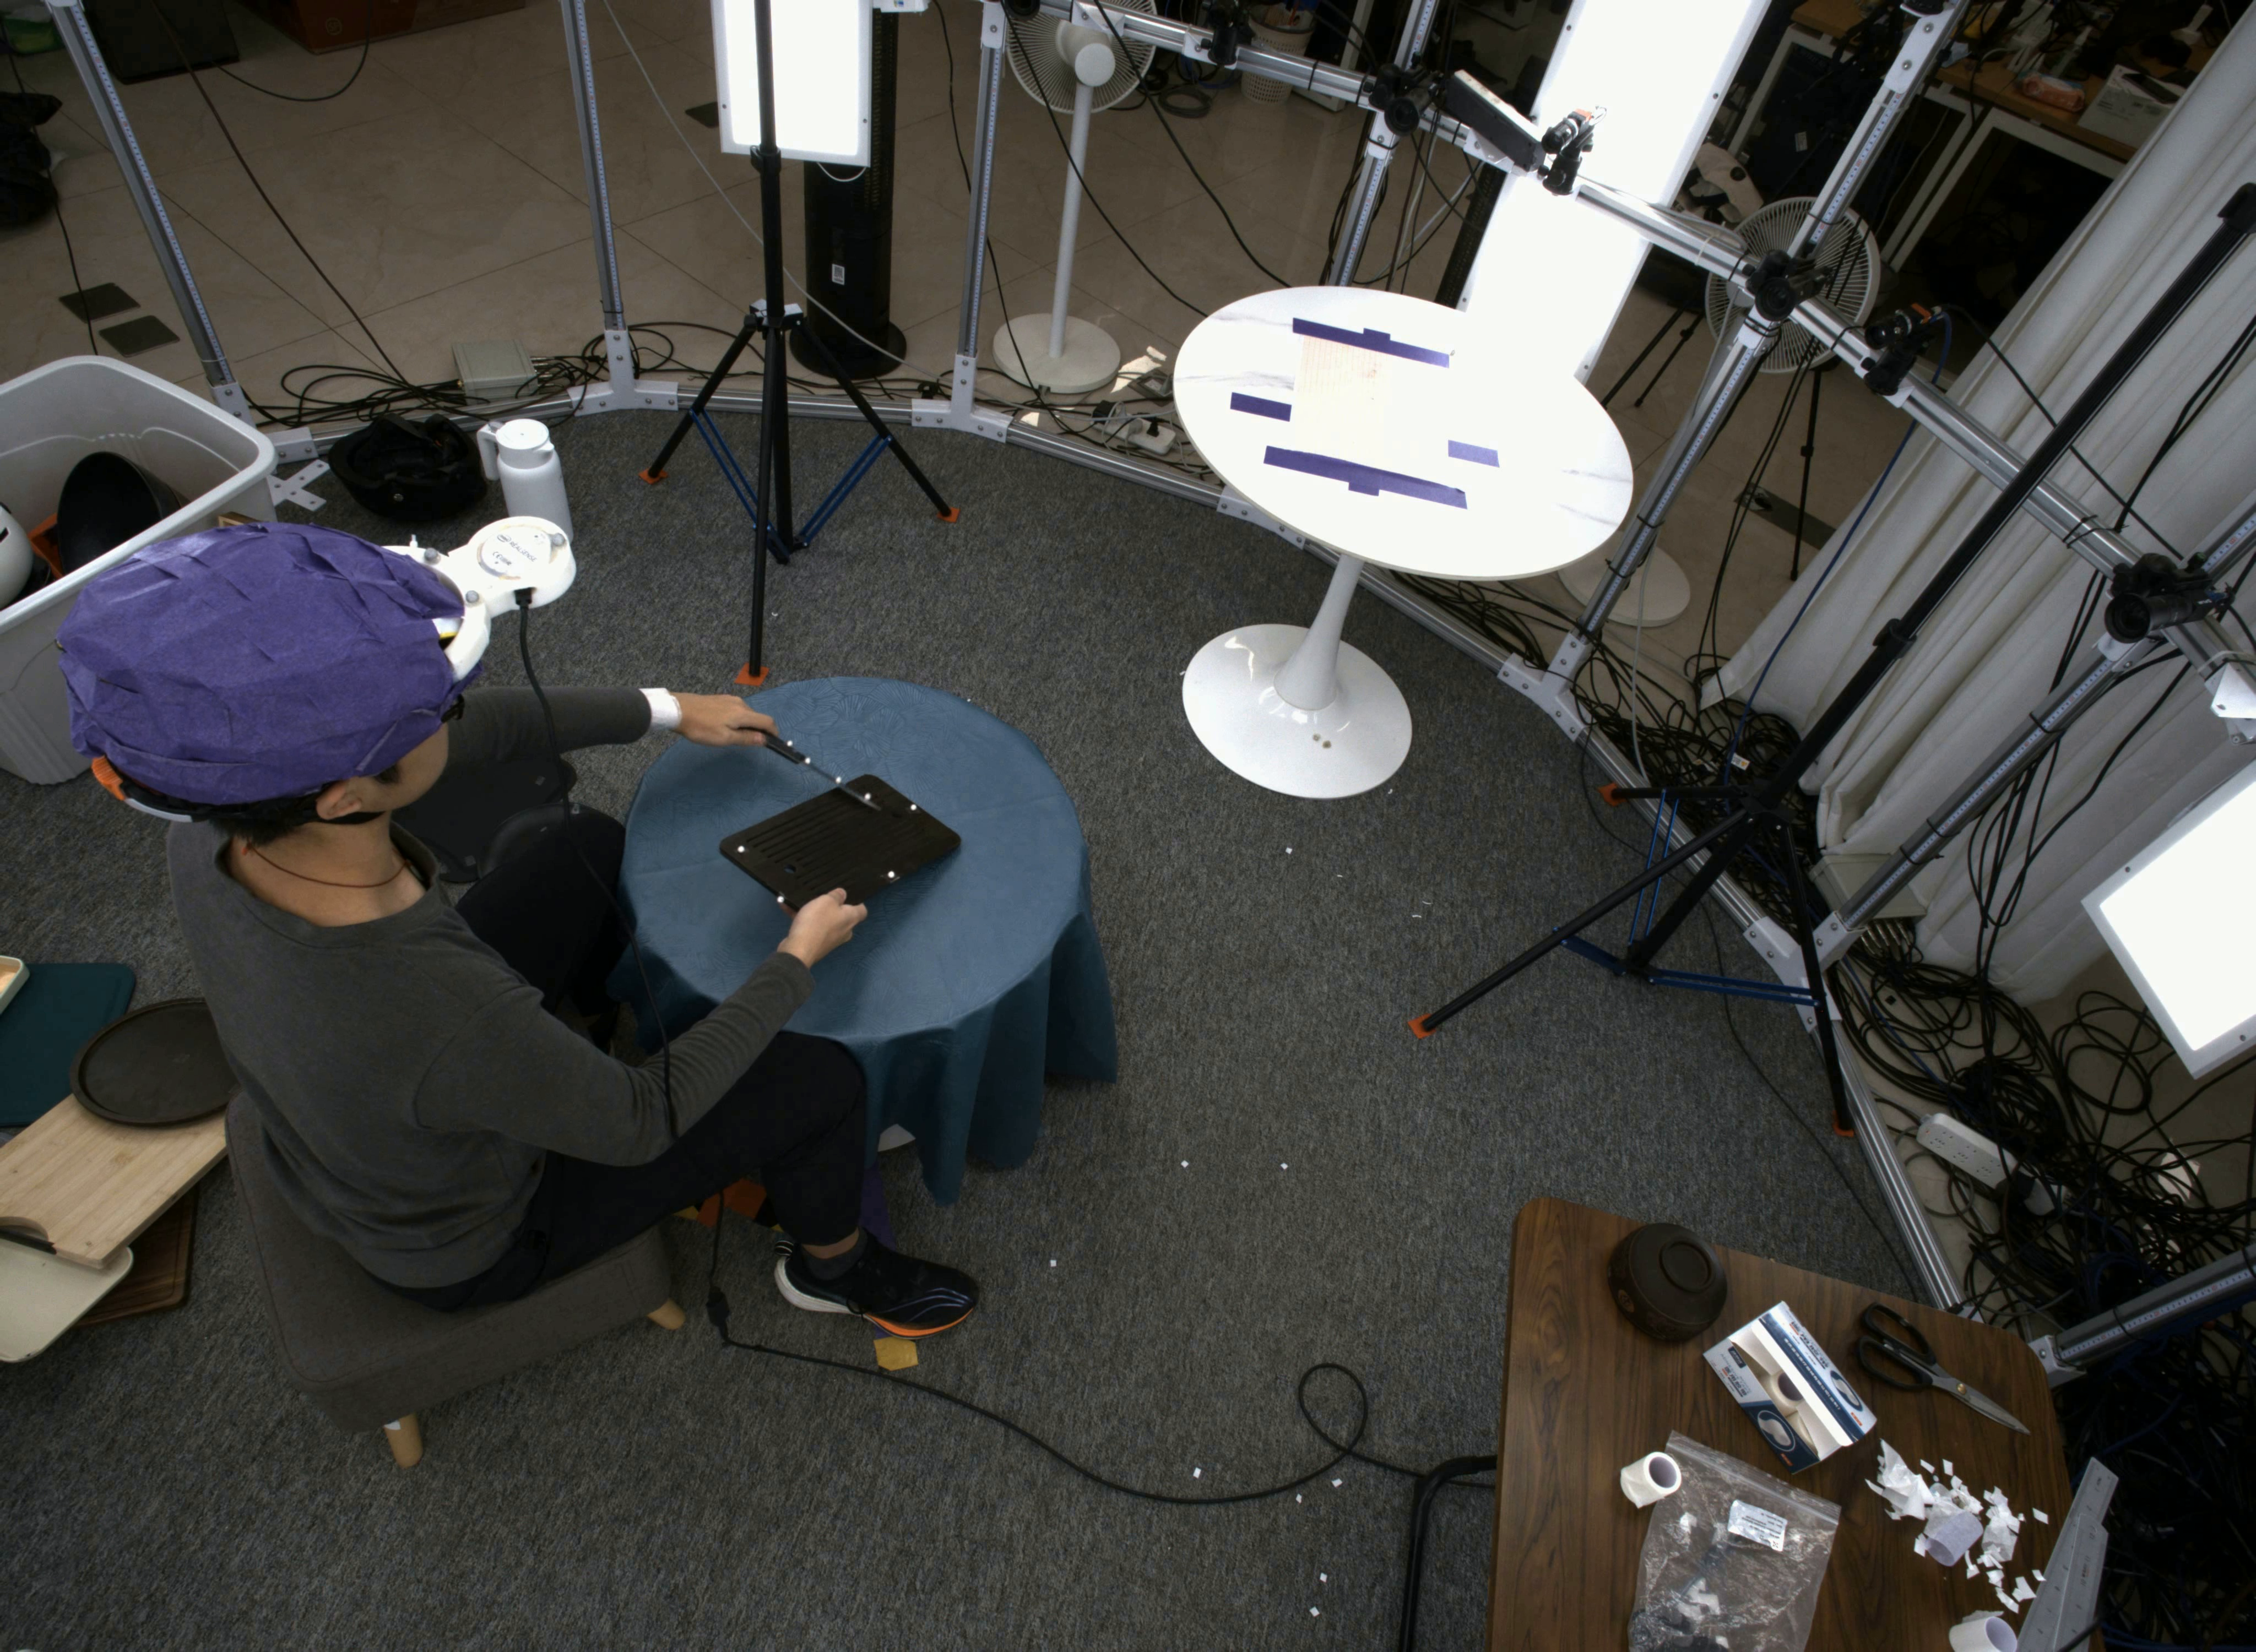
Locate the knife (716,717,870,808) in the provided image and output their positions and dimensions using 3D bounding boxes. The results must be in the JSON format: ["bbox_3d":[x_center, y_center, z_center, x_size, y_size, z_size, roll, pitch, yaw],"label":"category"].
[{"bbox_3d":[-0.448,-0.083,1.726,0.237,0.016,0.024,30,12,-3],"label":"knife"}]

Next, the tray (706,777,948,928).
[{"bbox_3d":[-0.375,0.028,1.648,0.167,0.019,0.307,35,31,12],"label":"tray"}]
